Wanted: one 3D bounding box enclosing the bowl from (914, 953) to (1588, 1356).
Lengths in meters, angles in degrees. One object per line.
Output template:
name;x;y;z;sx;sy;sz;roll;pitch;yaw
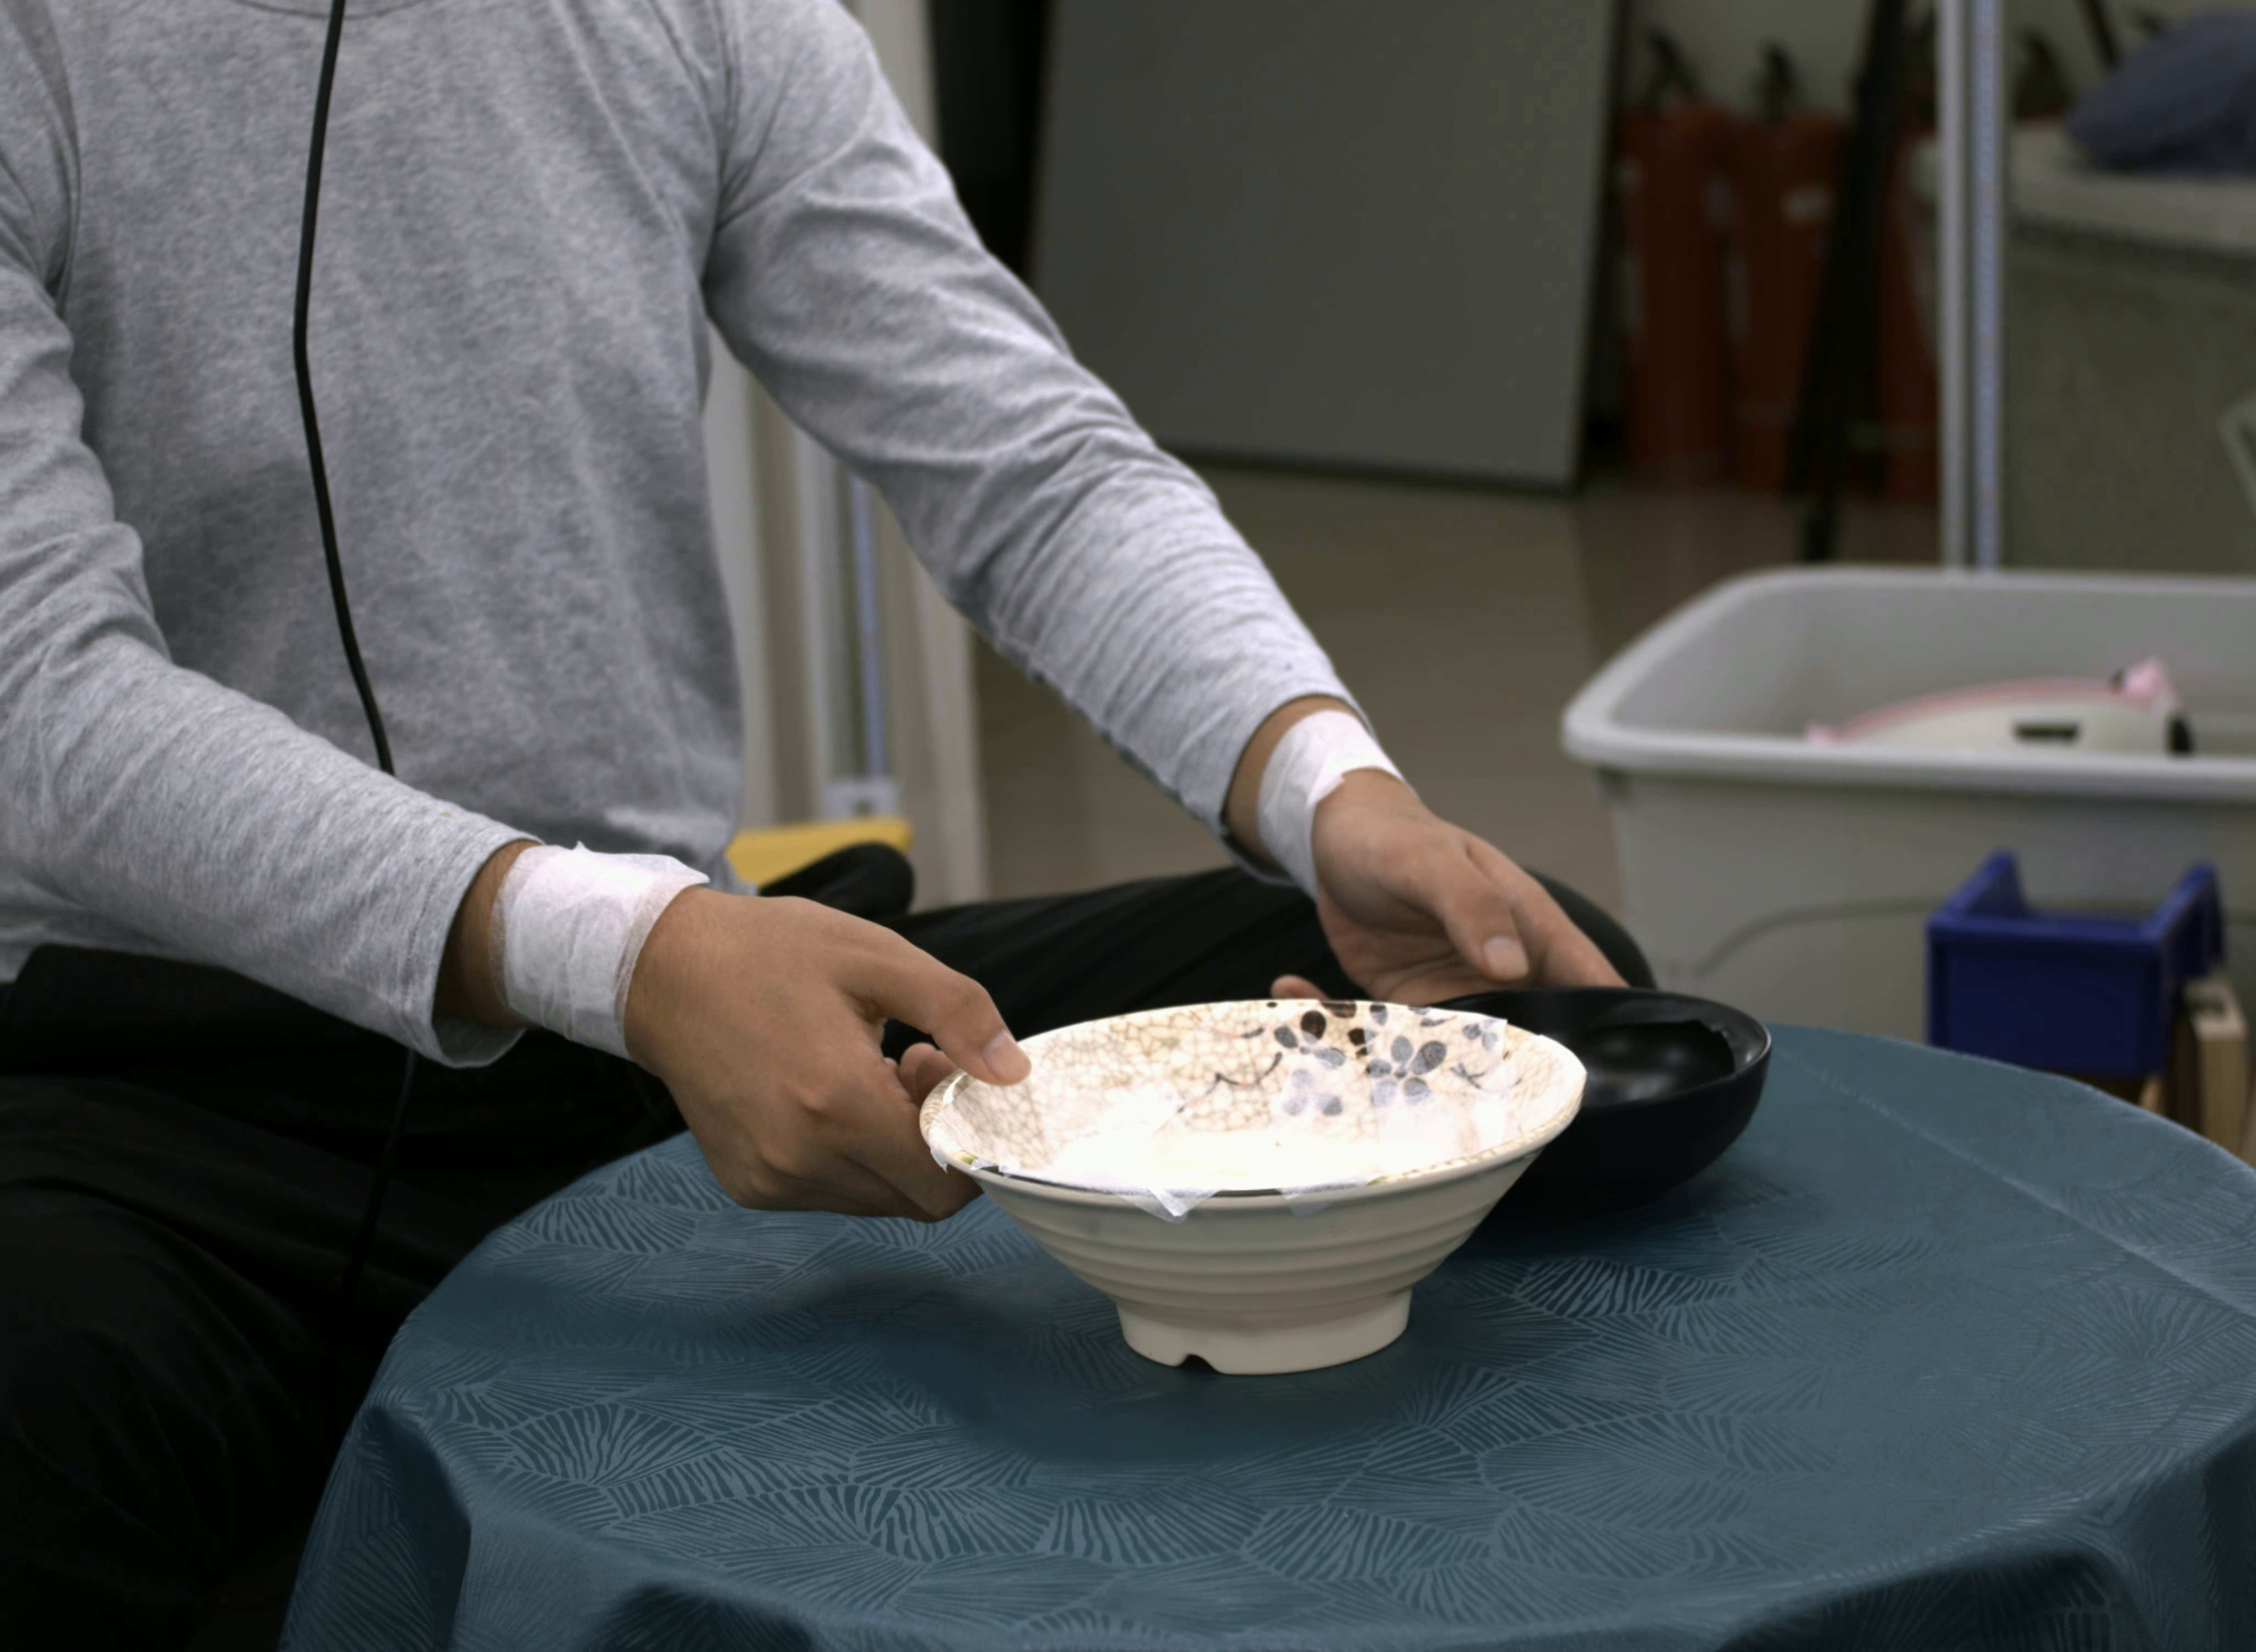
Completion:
bowl;0.035;0.106;1.615;0.201;0.079;0.204;2;17;-1

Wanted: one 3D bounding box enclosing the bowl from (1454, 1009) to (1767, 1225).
bowl;0.140;0.097;1.743;0.138;0.050;0.140;-6;8;0
